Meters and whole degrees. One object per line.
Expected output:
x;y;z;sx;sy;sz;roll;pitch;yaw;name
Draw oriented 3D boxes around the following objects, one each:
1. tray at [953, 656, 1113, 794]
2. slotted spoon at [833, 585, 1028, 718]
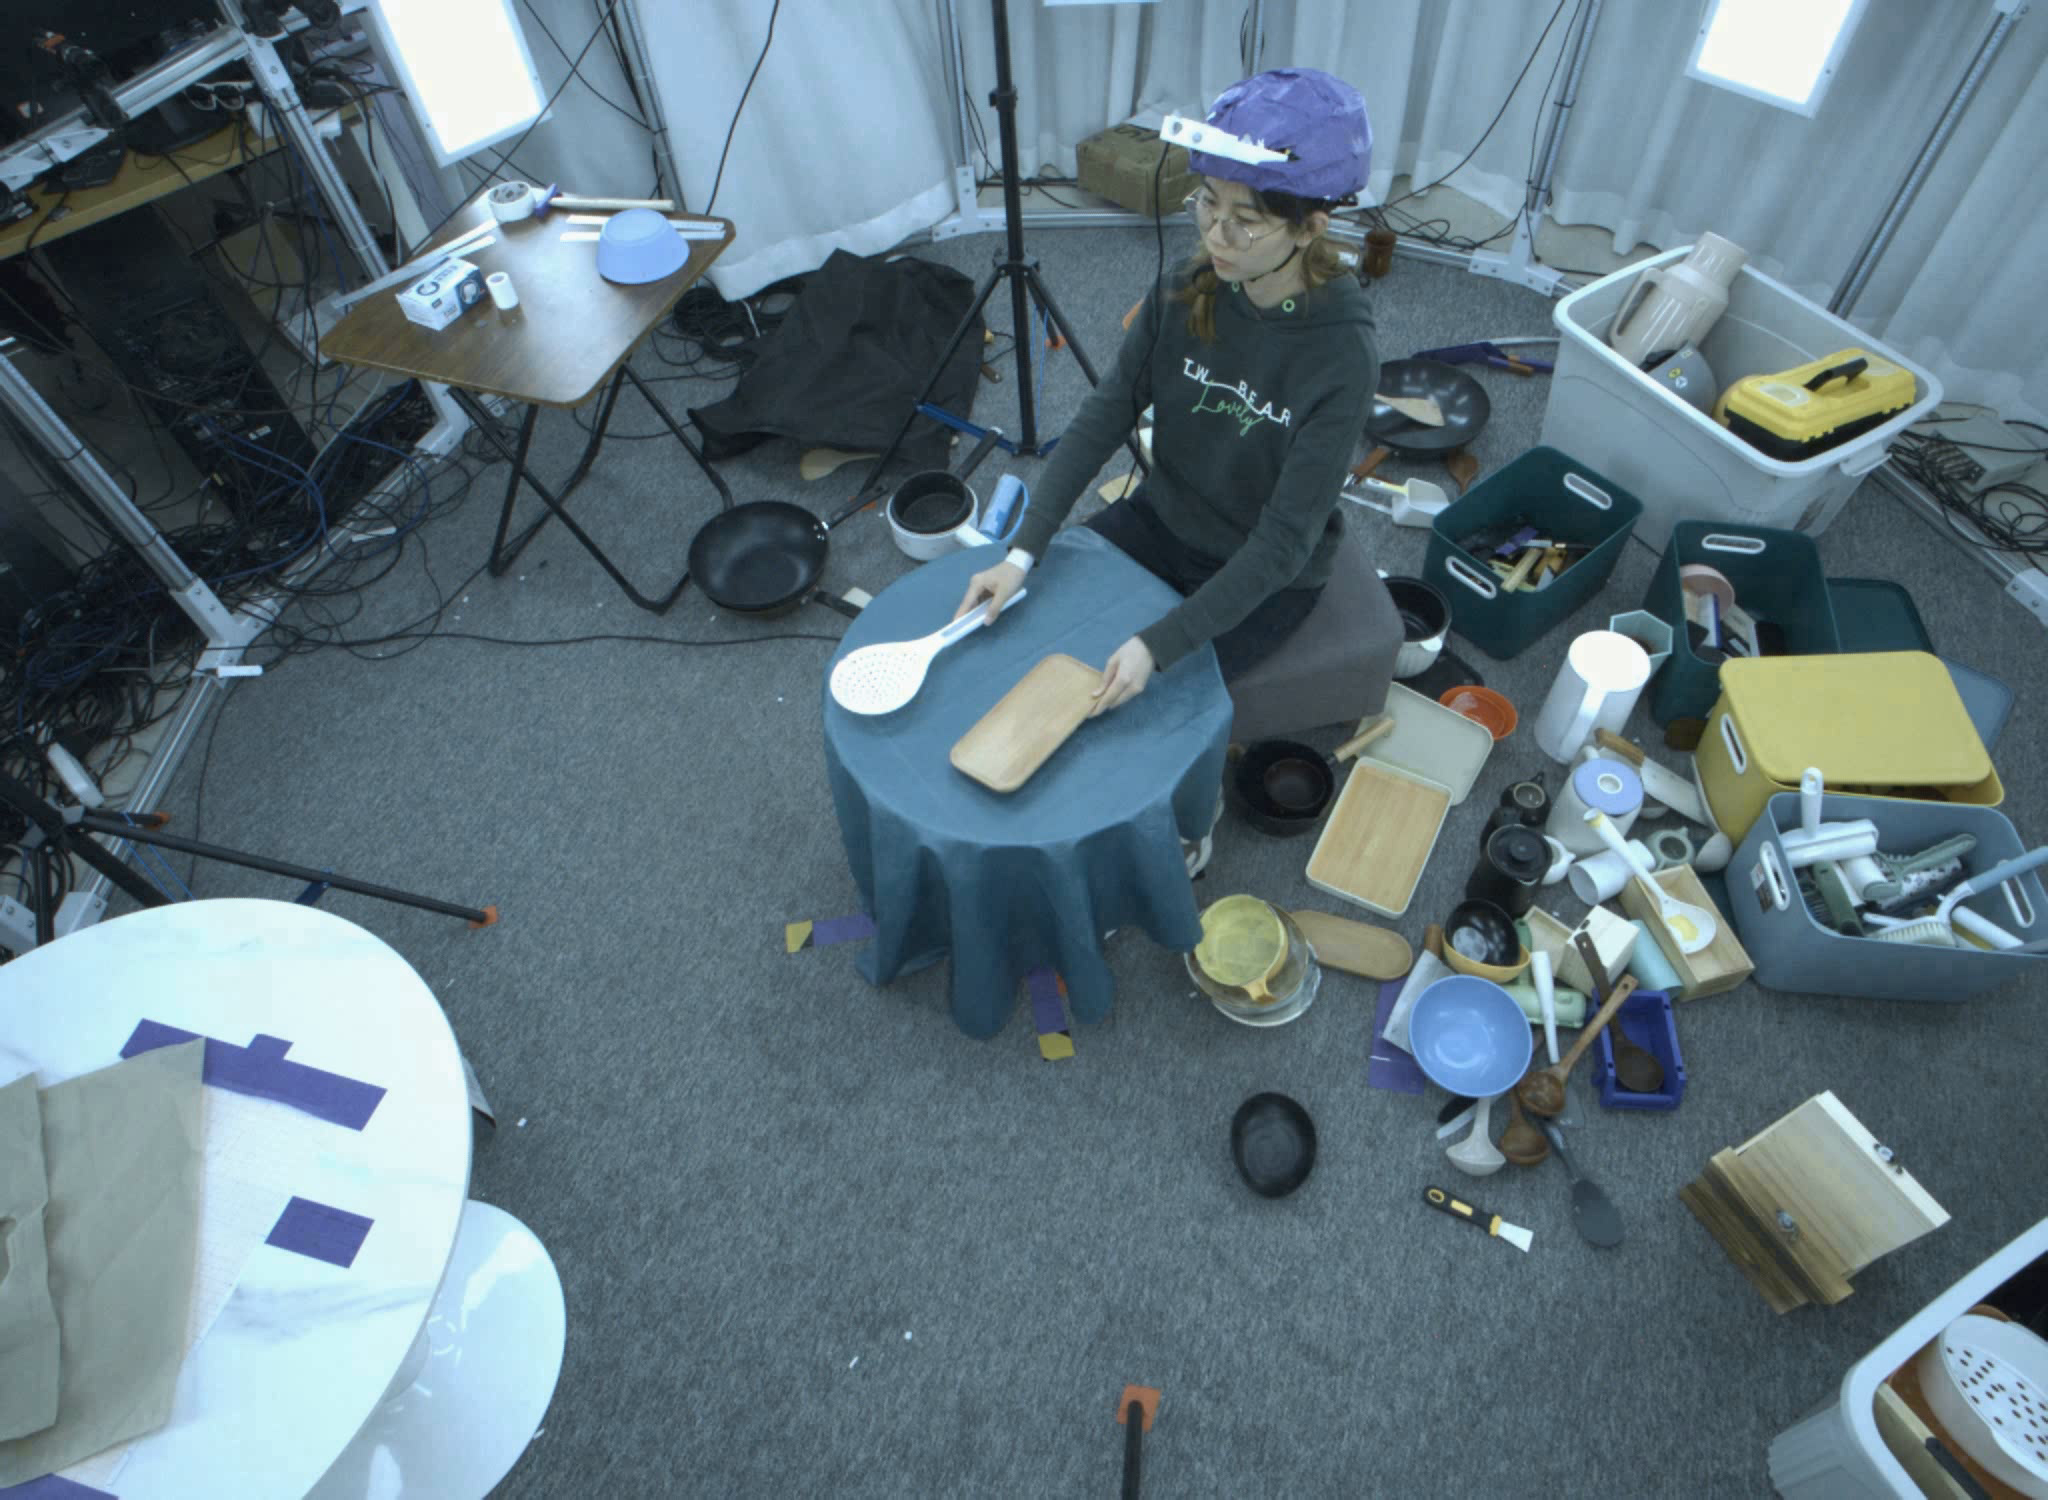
0.015;-0.039;1.787;0.128;0.023;0.252;31;62;28;tray
-0.135;-0.158;1.872;0.352;0.046;0.133;-38;61;-17;slotted spoon
